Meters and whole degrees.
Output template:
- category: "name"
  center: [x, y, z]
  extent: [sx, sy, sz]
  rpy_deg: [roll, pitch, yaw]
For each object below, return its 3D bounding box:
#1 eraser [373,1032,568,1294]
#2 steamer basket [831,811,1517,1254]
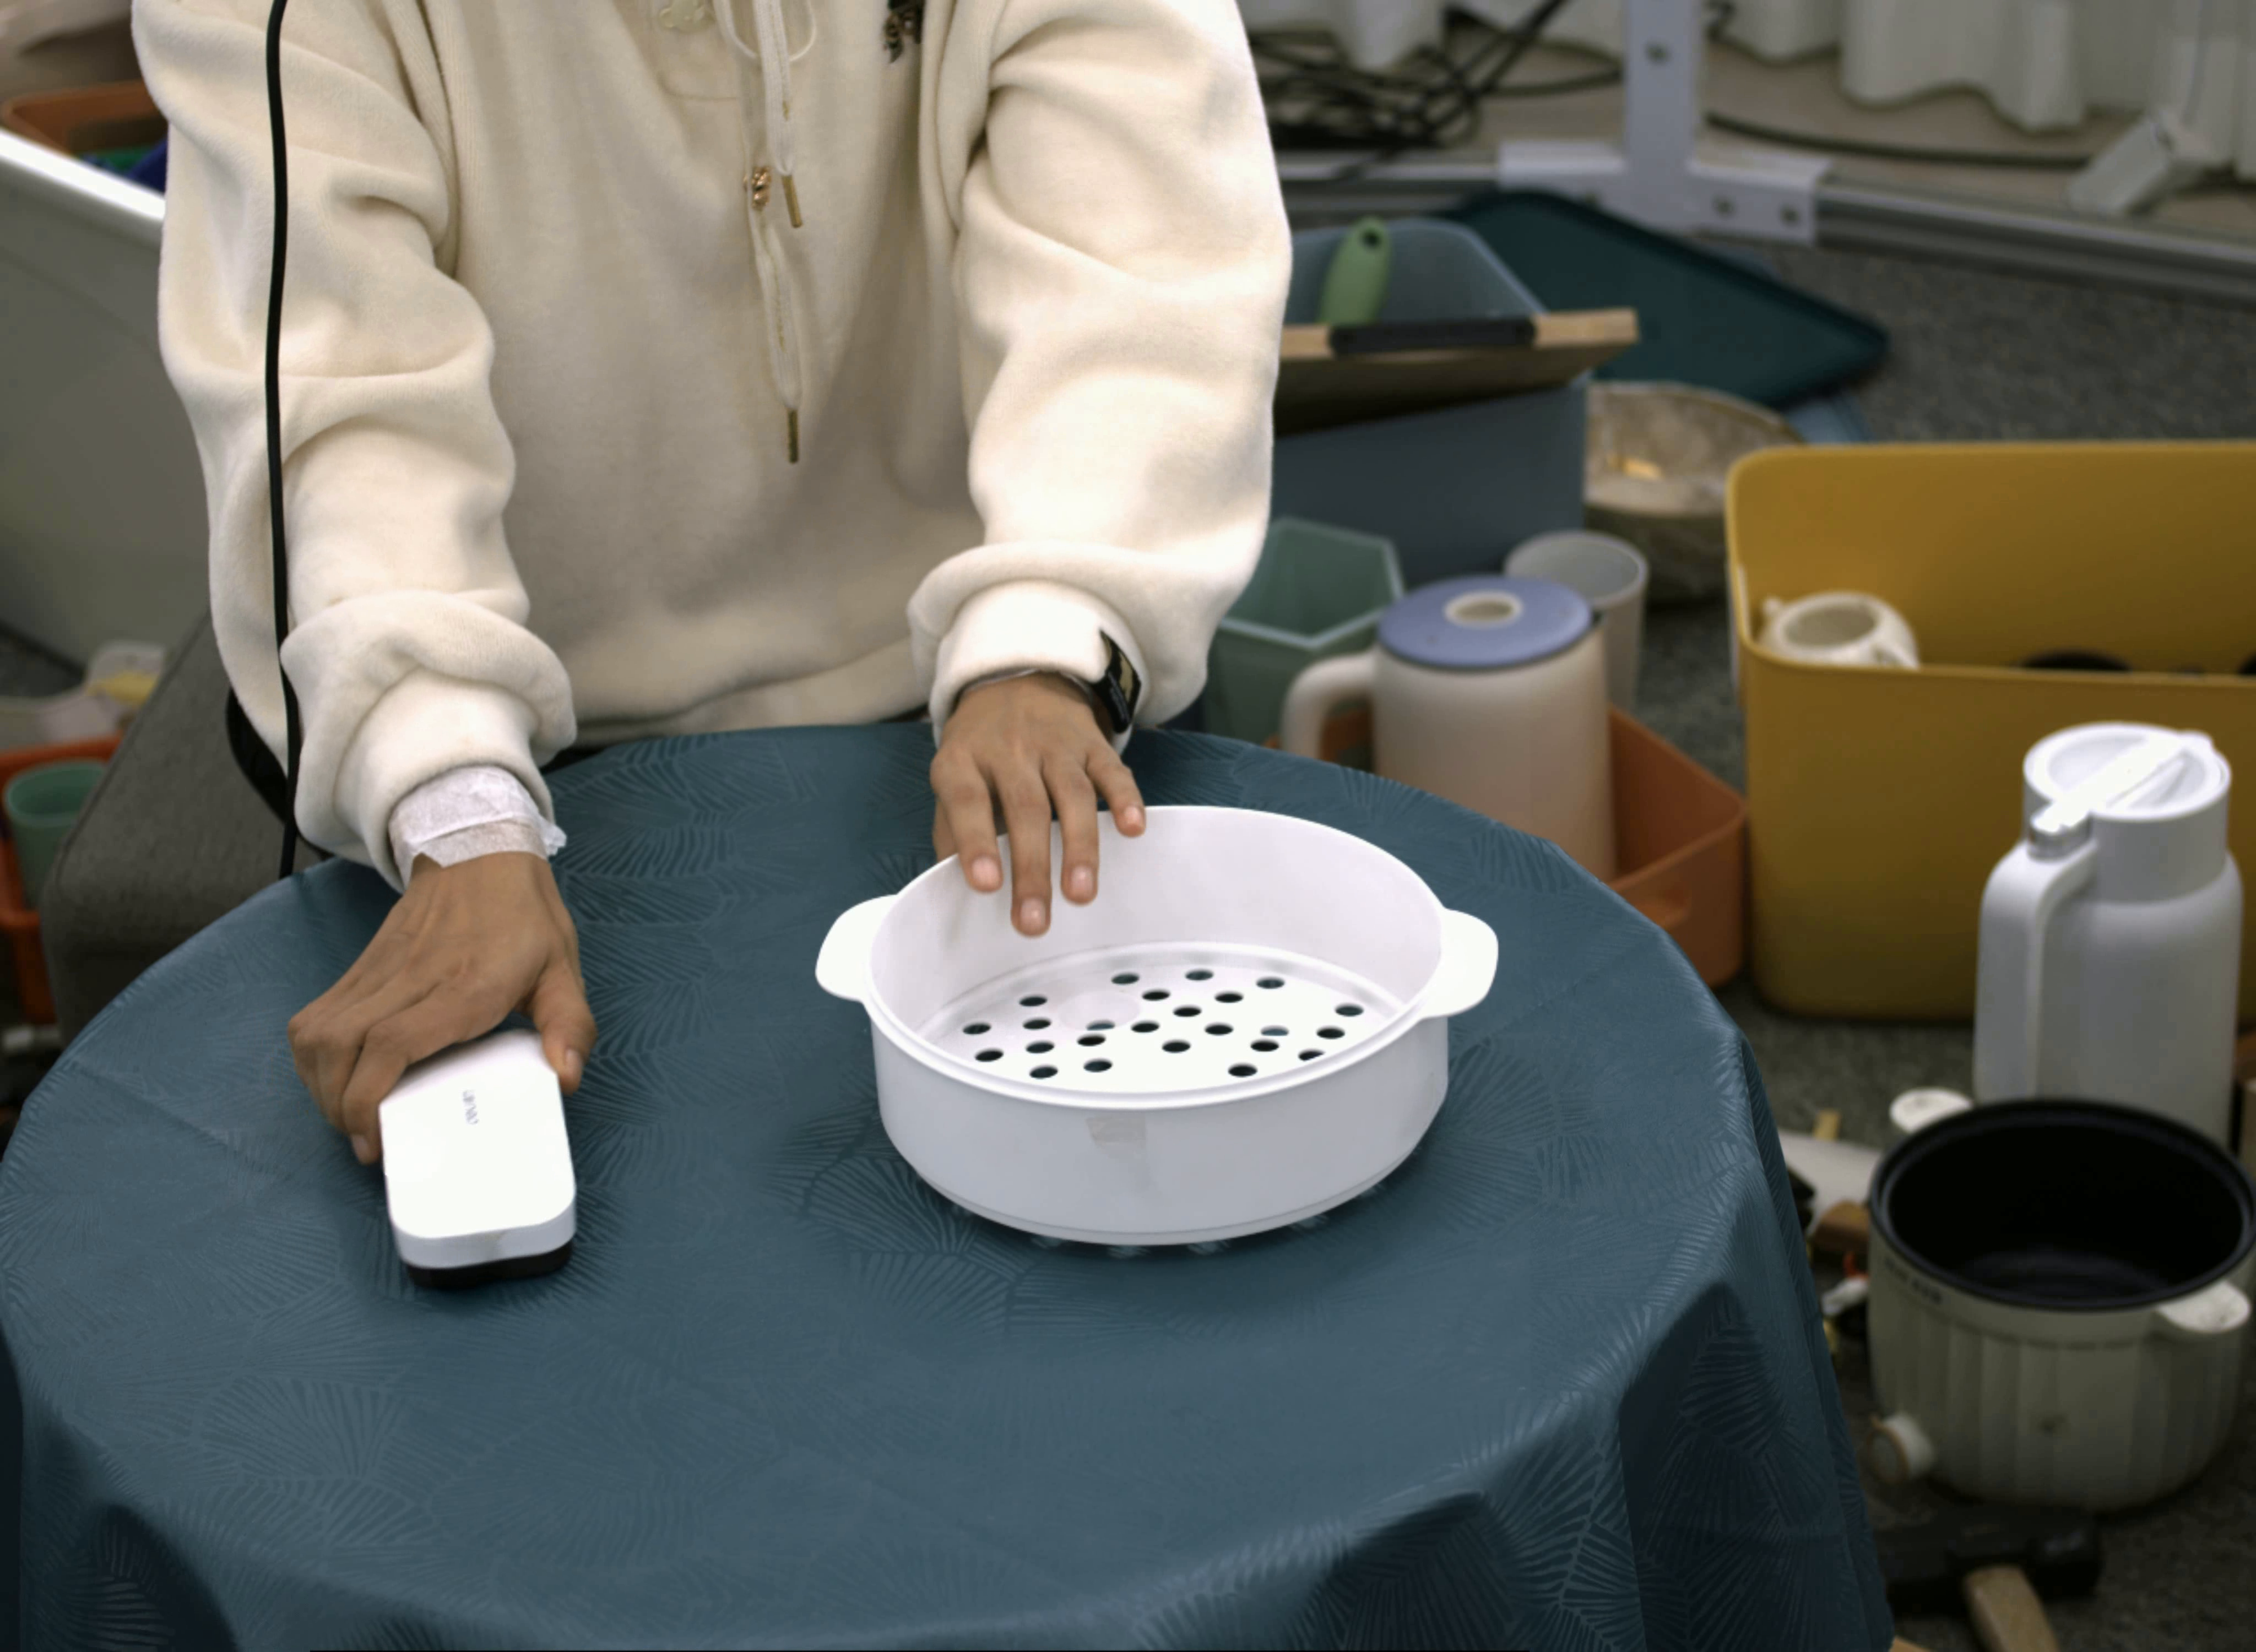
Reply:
- category: "eraser"
  center: [-0.218, 0.109, 1.875]
  extent: [0.063, 0.034, 0.133]
  rpy_deg: [-6, 28, -5]
- category: "steamer basket"
  center: [0.016, 0.069, 1.890]
  extent: [0.229, 0.068, 0.205]
  rpy_deg: [2, 27, 8]
